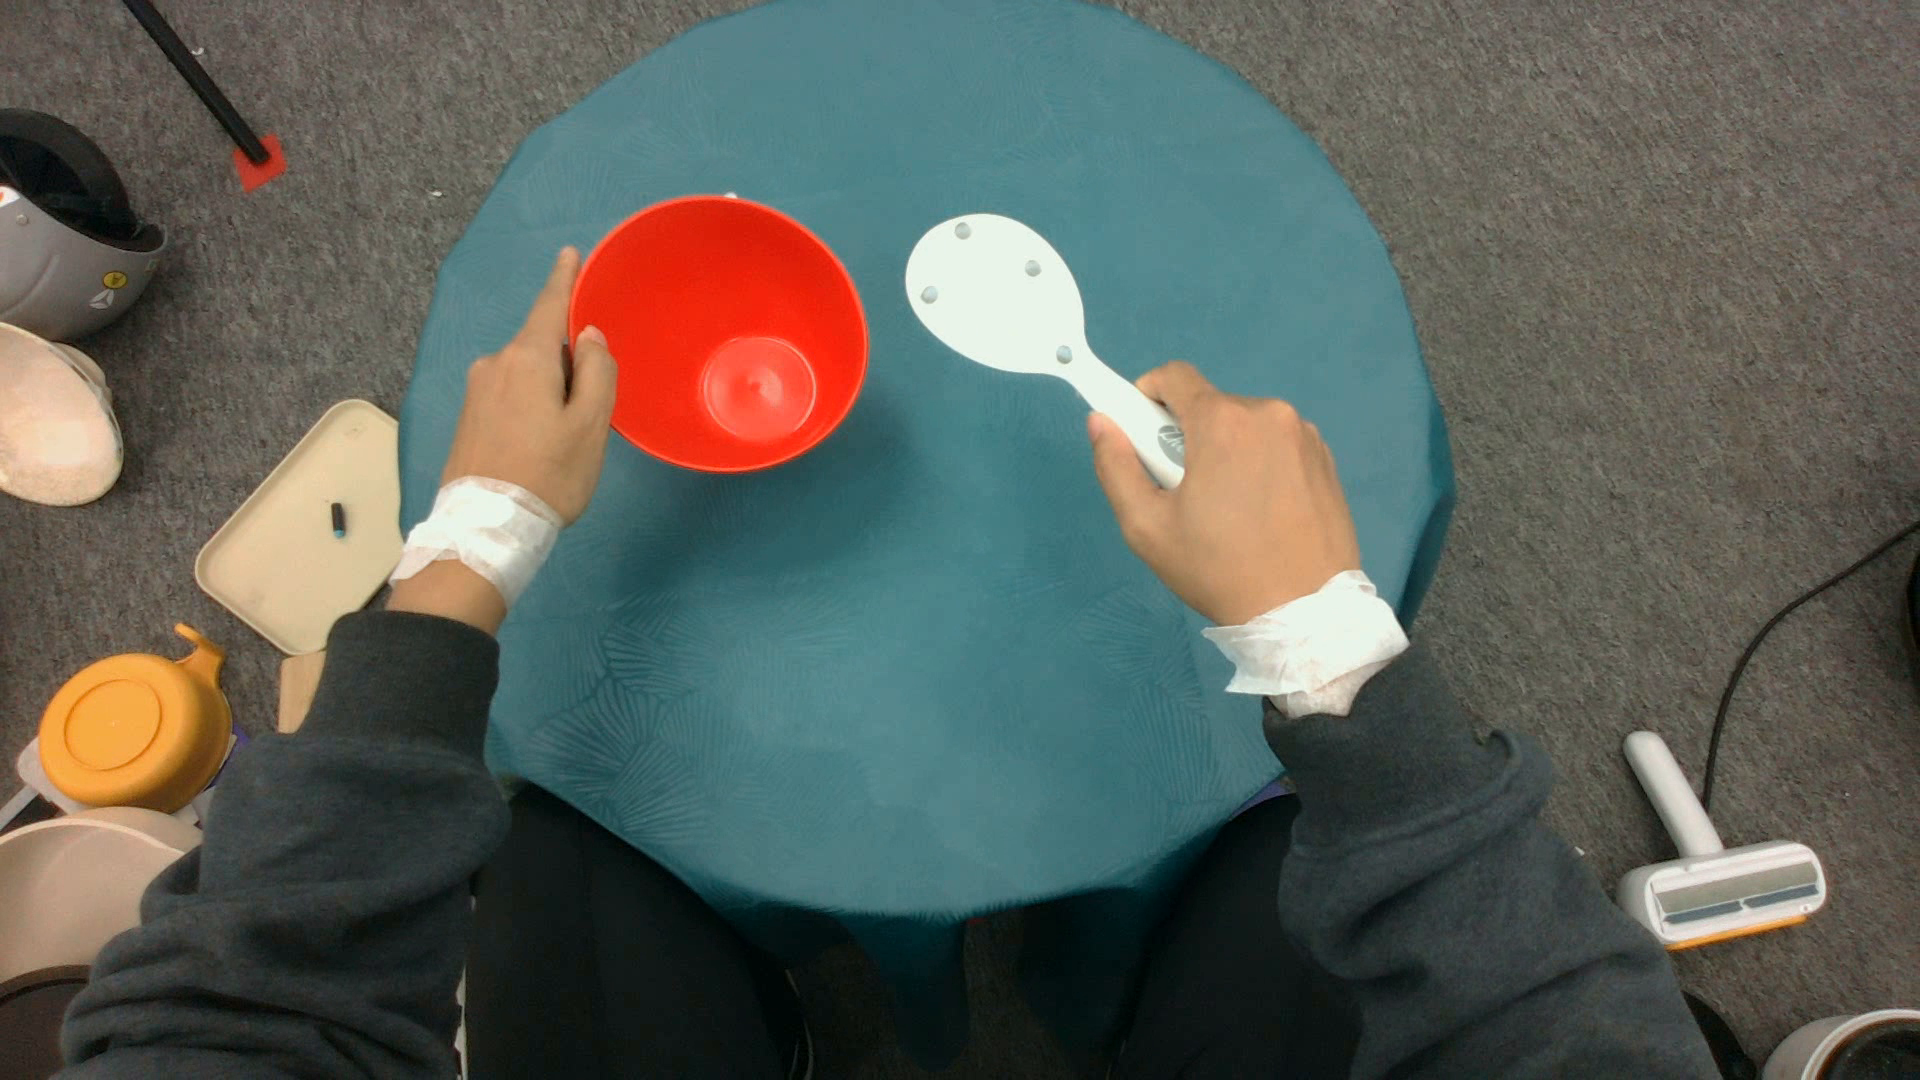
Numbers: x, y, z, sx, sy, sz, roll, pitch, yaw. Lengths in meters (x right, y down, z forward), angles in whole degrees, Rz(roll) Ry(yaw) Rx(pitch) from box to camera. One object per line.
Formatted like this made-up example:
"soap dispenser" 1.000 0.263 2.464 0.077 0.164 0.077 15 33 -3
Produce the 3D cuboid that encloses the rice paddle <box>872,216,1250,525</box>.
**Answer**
"rice paddle" 0.040 -0.081 0.616 0.205 0.029 0.069 41 77 19

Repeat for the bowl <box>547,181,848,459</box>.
"bowl" -0.134 -0.104 0.733 0.148 0.104 0.148 1 77 -5
